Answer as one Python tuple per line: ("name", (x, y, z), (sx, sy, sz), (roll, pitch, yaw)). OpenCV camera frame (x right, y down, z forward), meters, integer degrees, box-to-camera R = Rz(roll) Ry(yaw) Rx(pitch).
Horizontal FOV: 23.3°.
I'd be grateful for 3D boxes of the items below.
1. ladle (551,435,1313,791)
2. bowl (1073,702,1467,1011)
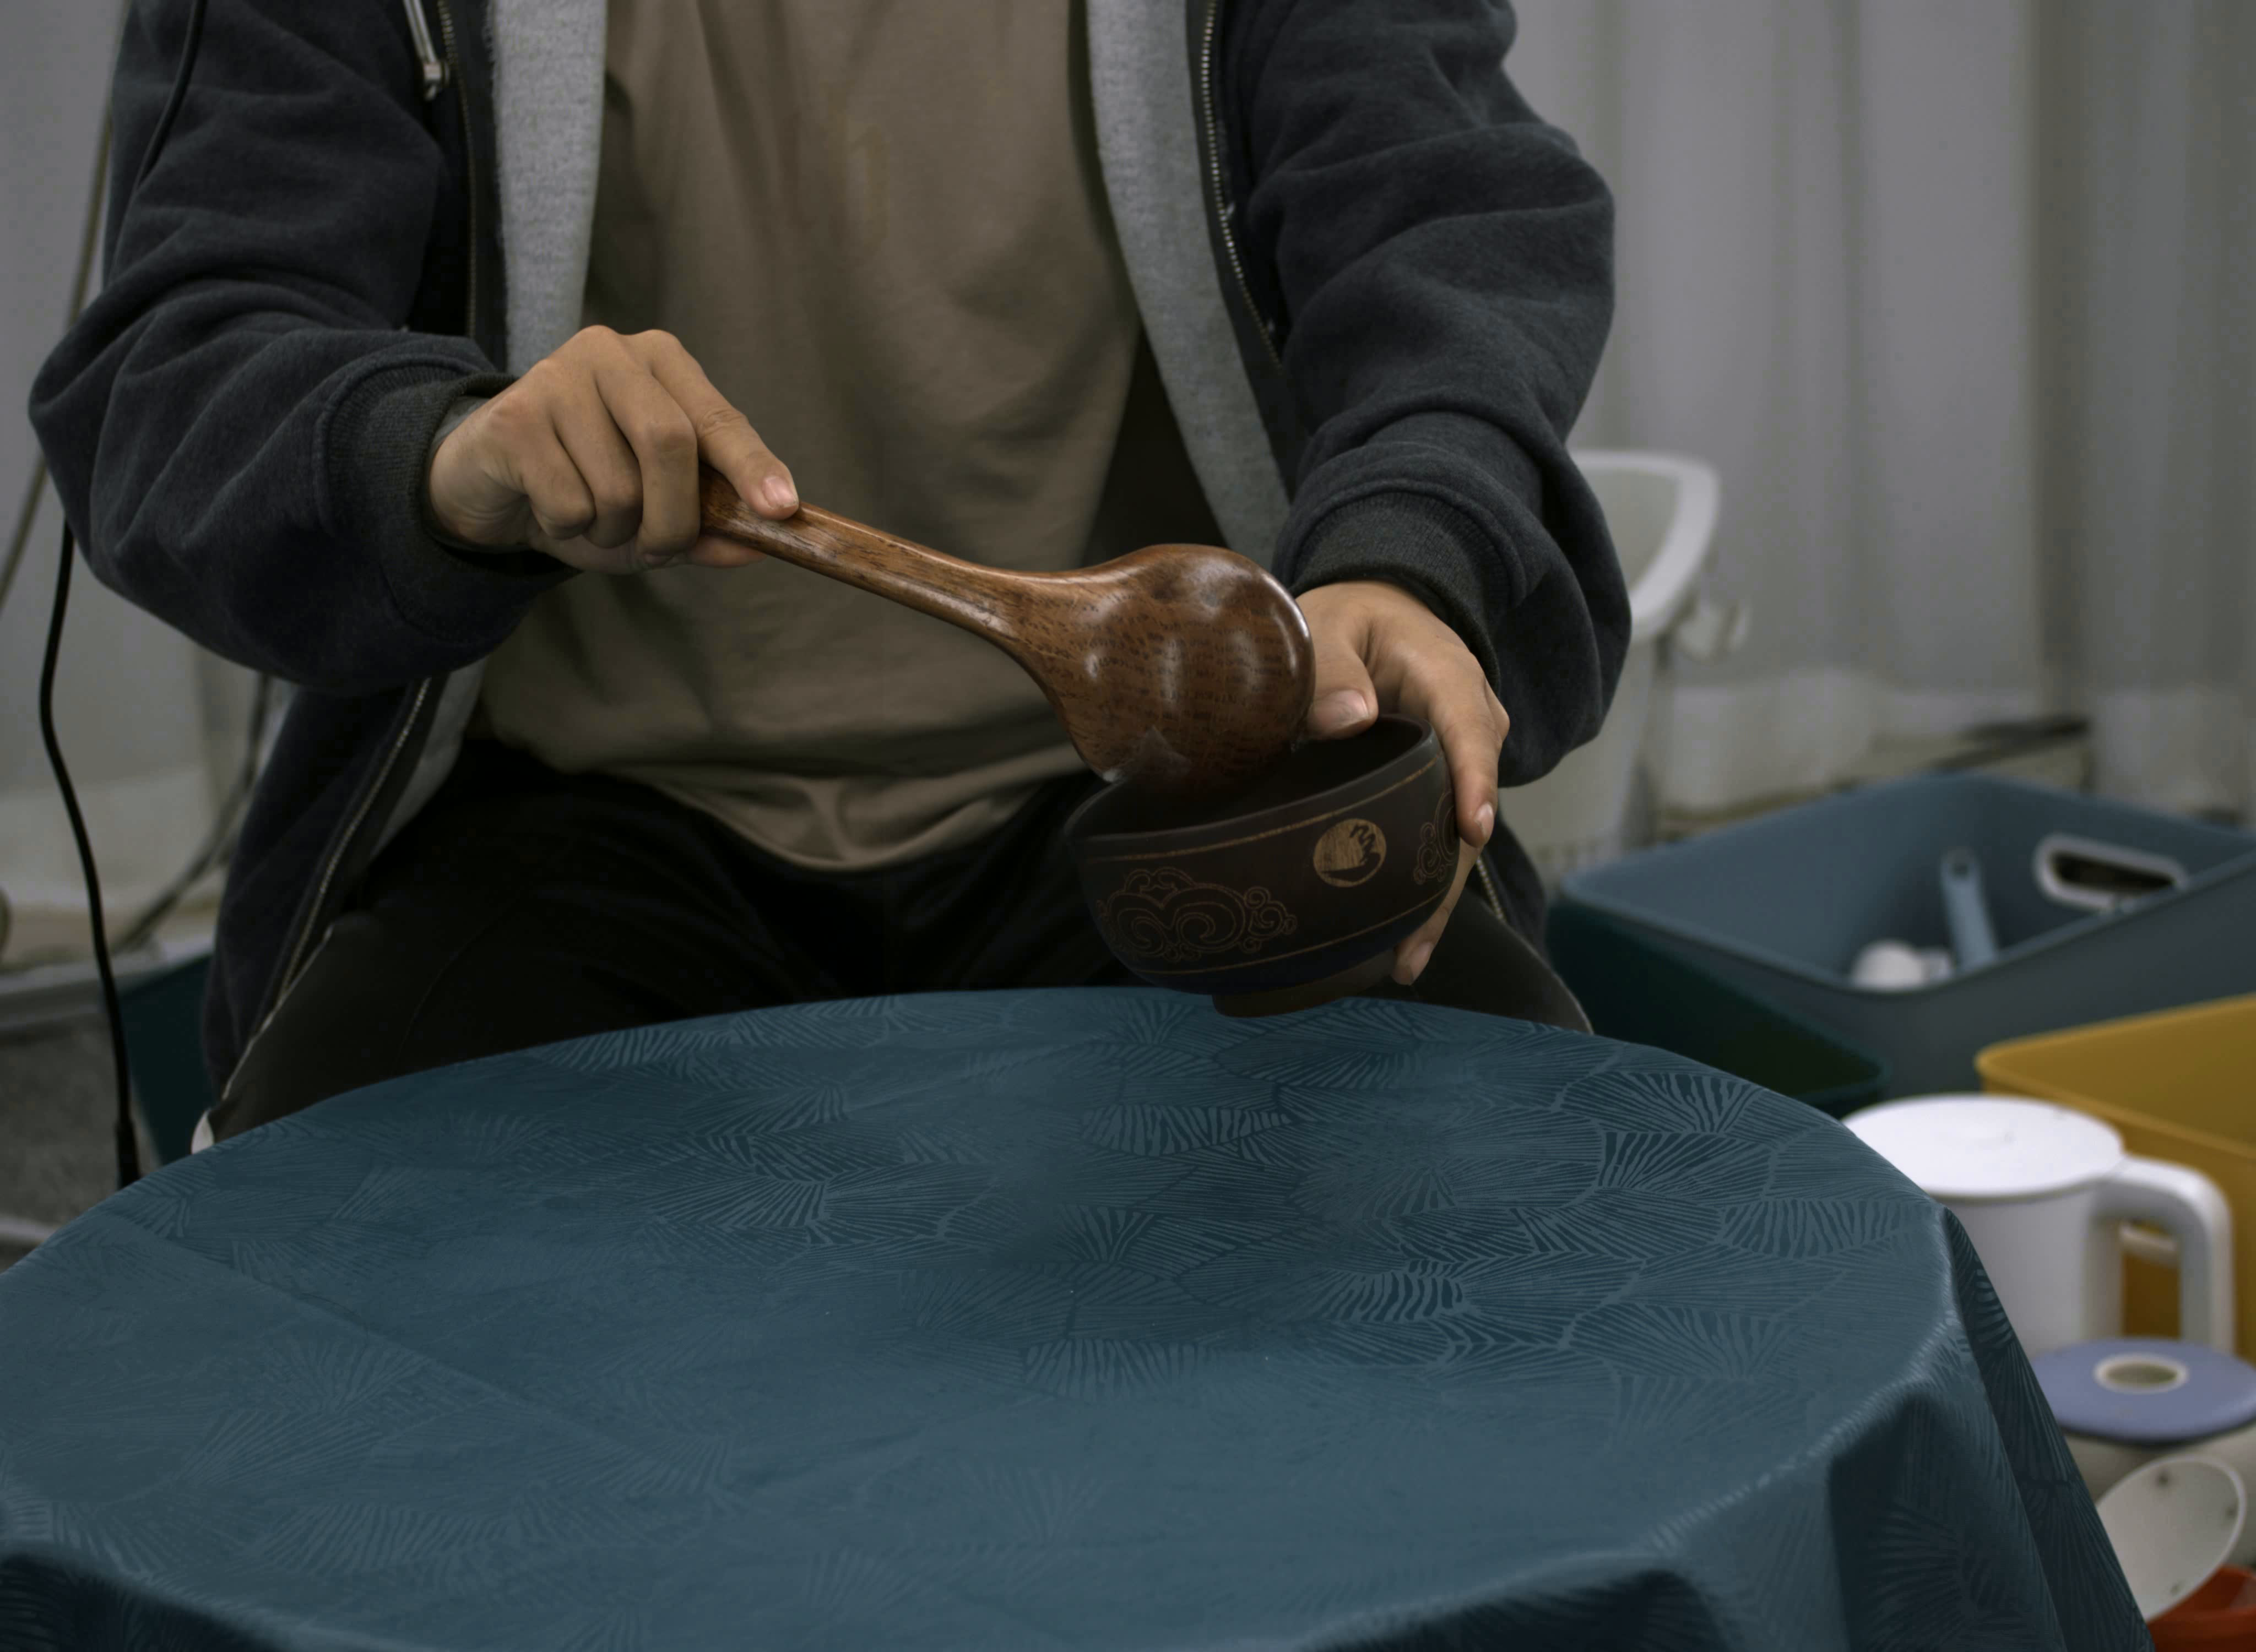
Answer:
("ladle", (-0.061, -0.078, 1.707), (0.276, 0.082, 0.076), (18, -5, 40))
("bowl", (0.047, 0.014, 1.650), (0.117, 0.069, 0.118), (-16, 11, 3))
